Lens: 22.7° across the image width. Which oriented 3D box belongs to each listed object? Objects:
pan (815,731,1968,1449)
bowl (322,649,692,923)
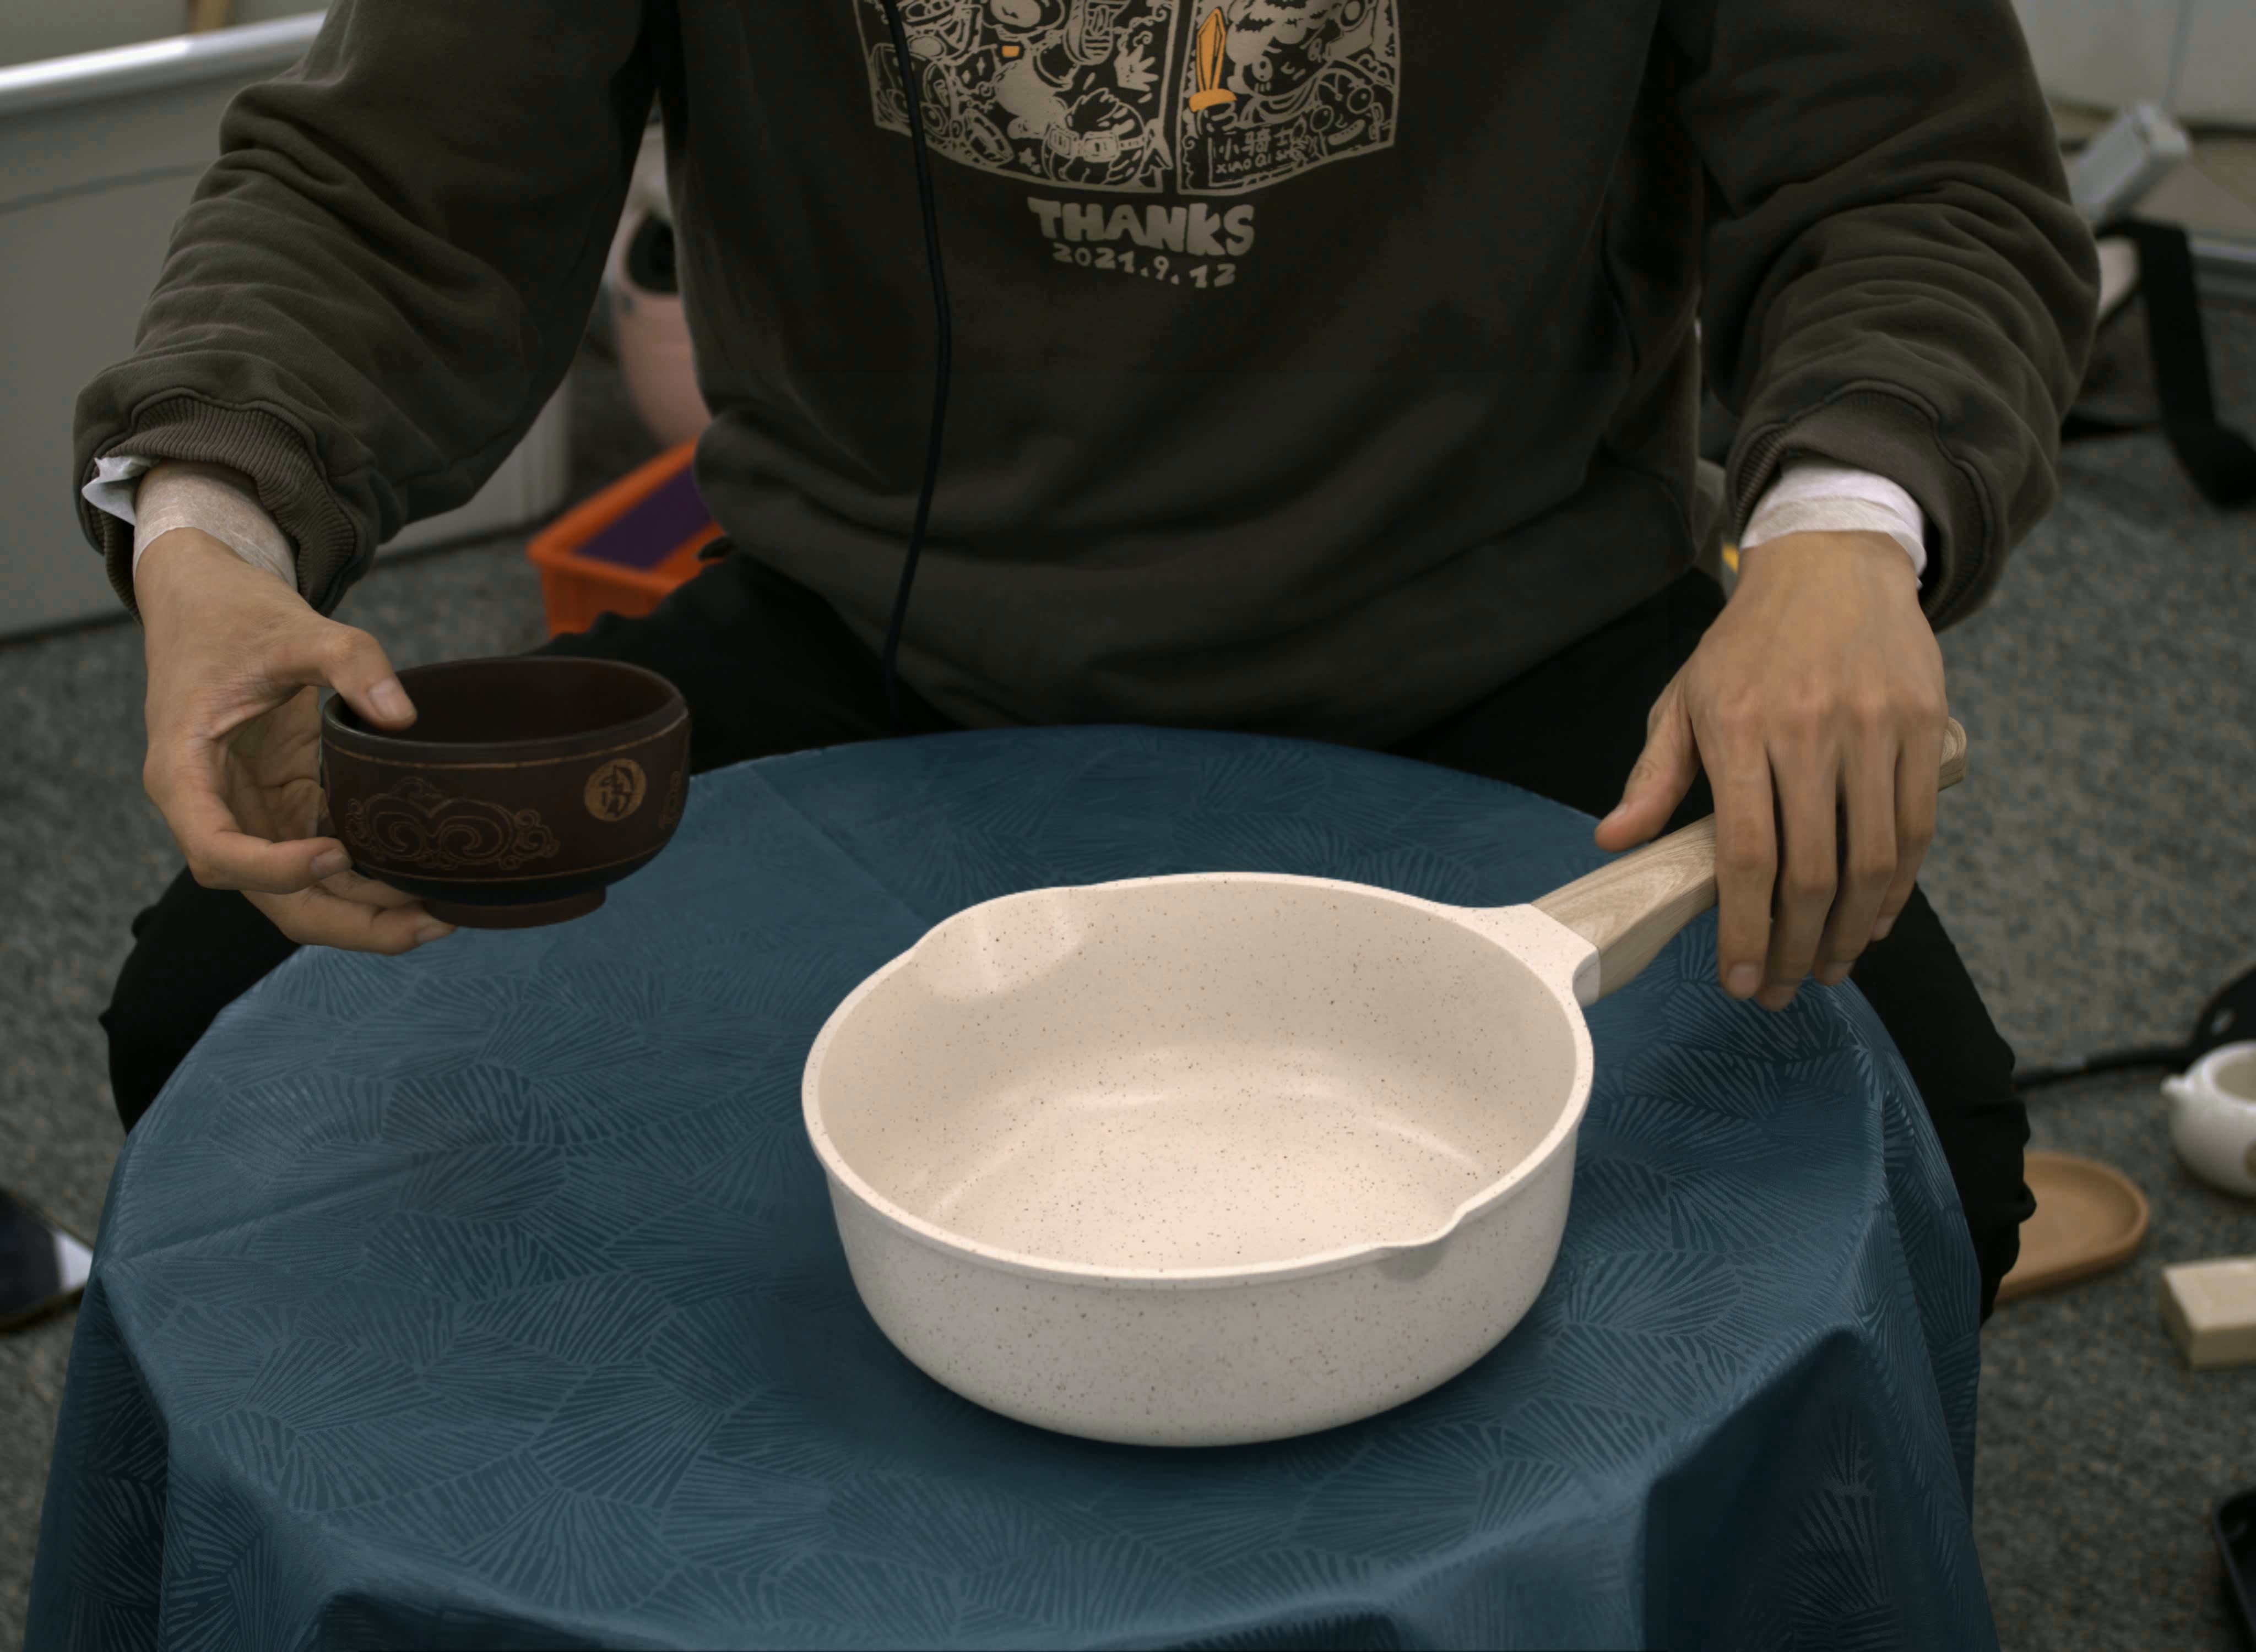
[{"bbox_3d":[0.104,0.078,1.829,0.438,0.101,0.264,-19,30,-28],"label":"pan"},{"bbox_3d":[-0.196,-0.009,1.793,0.117,0.069,0.119,-3,14,1],"label":"bowl"}]
